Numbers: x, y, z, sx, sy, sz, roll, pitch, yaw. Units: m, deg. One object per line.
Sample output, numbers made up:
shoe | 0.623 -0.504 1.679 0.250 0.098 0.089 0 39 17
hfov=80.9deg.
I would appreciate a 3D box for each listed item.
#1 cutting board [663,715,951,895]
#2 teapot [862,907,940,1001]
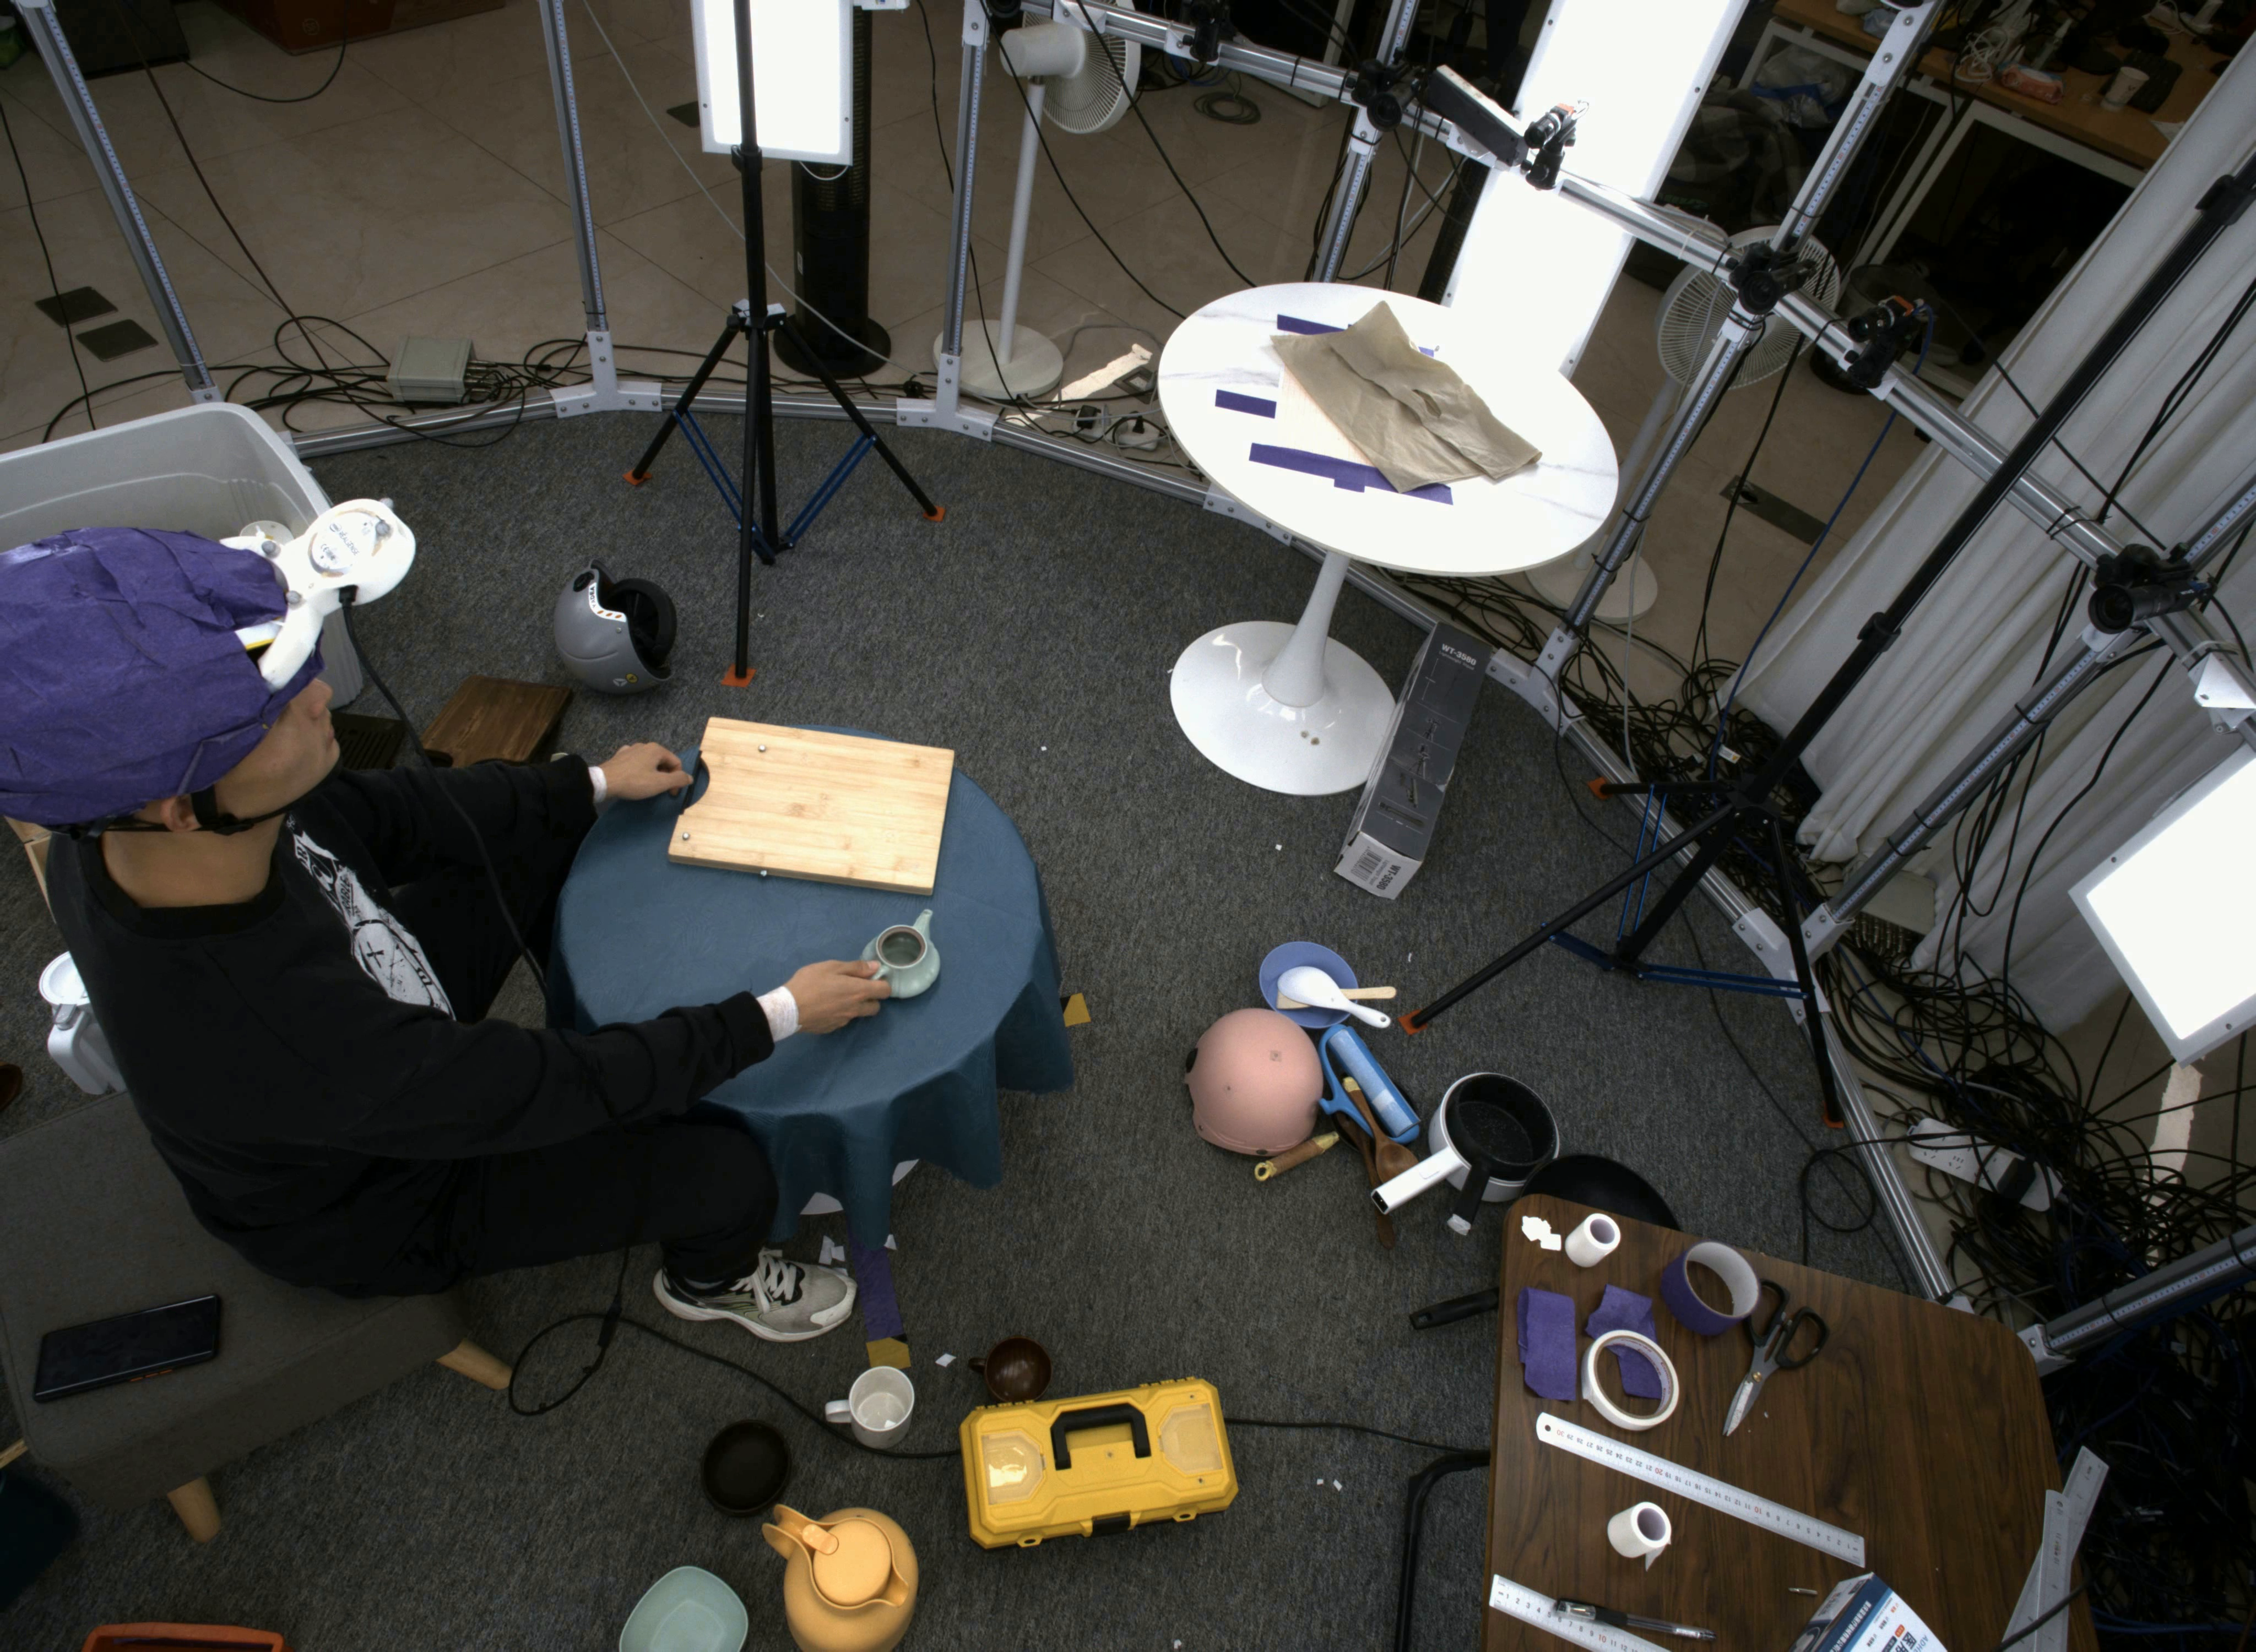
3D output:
cutting board | -0.421 -0.032 1.735 0.348 0.024 0.246 7 52 -10
teapot | -0.281 0.163 1.598 0.095 0.062 0.136 27 52 6
